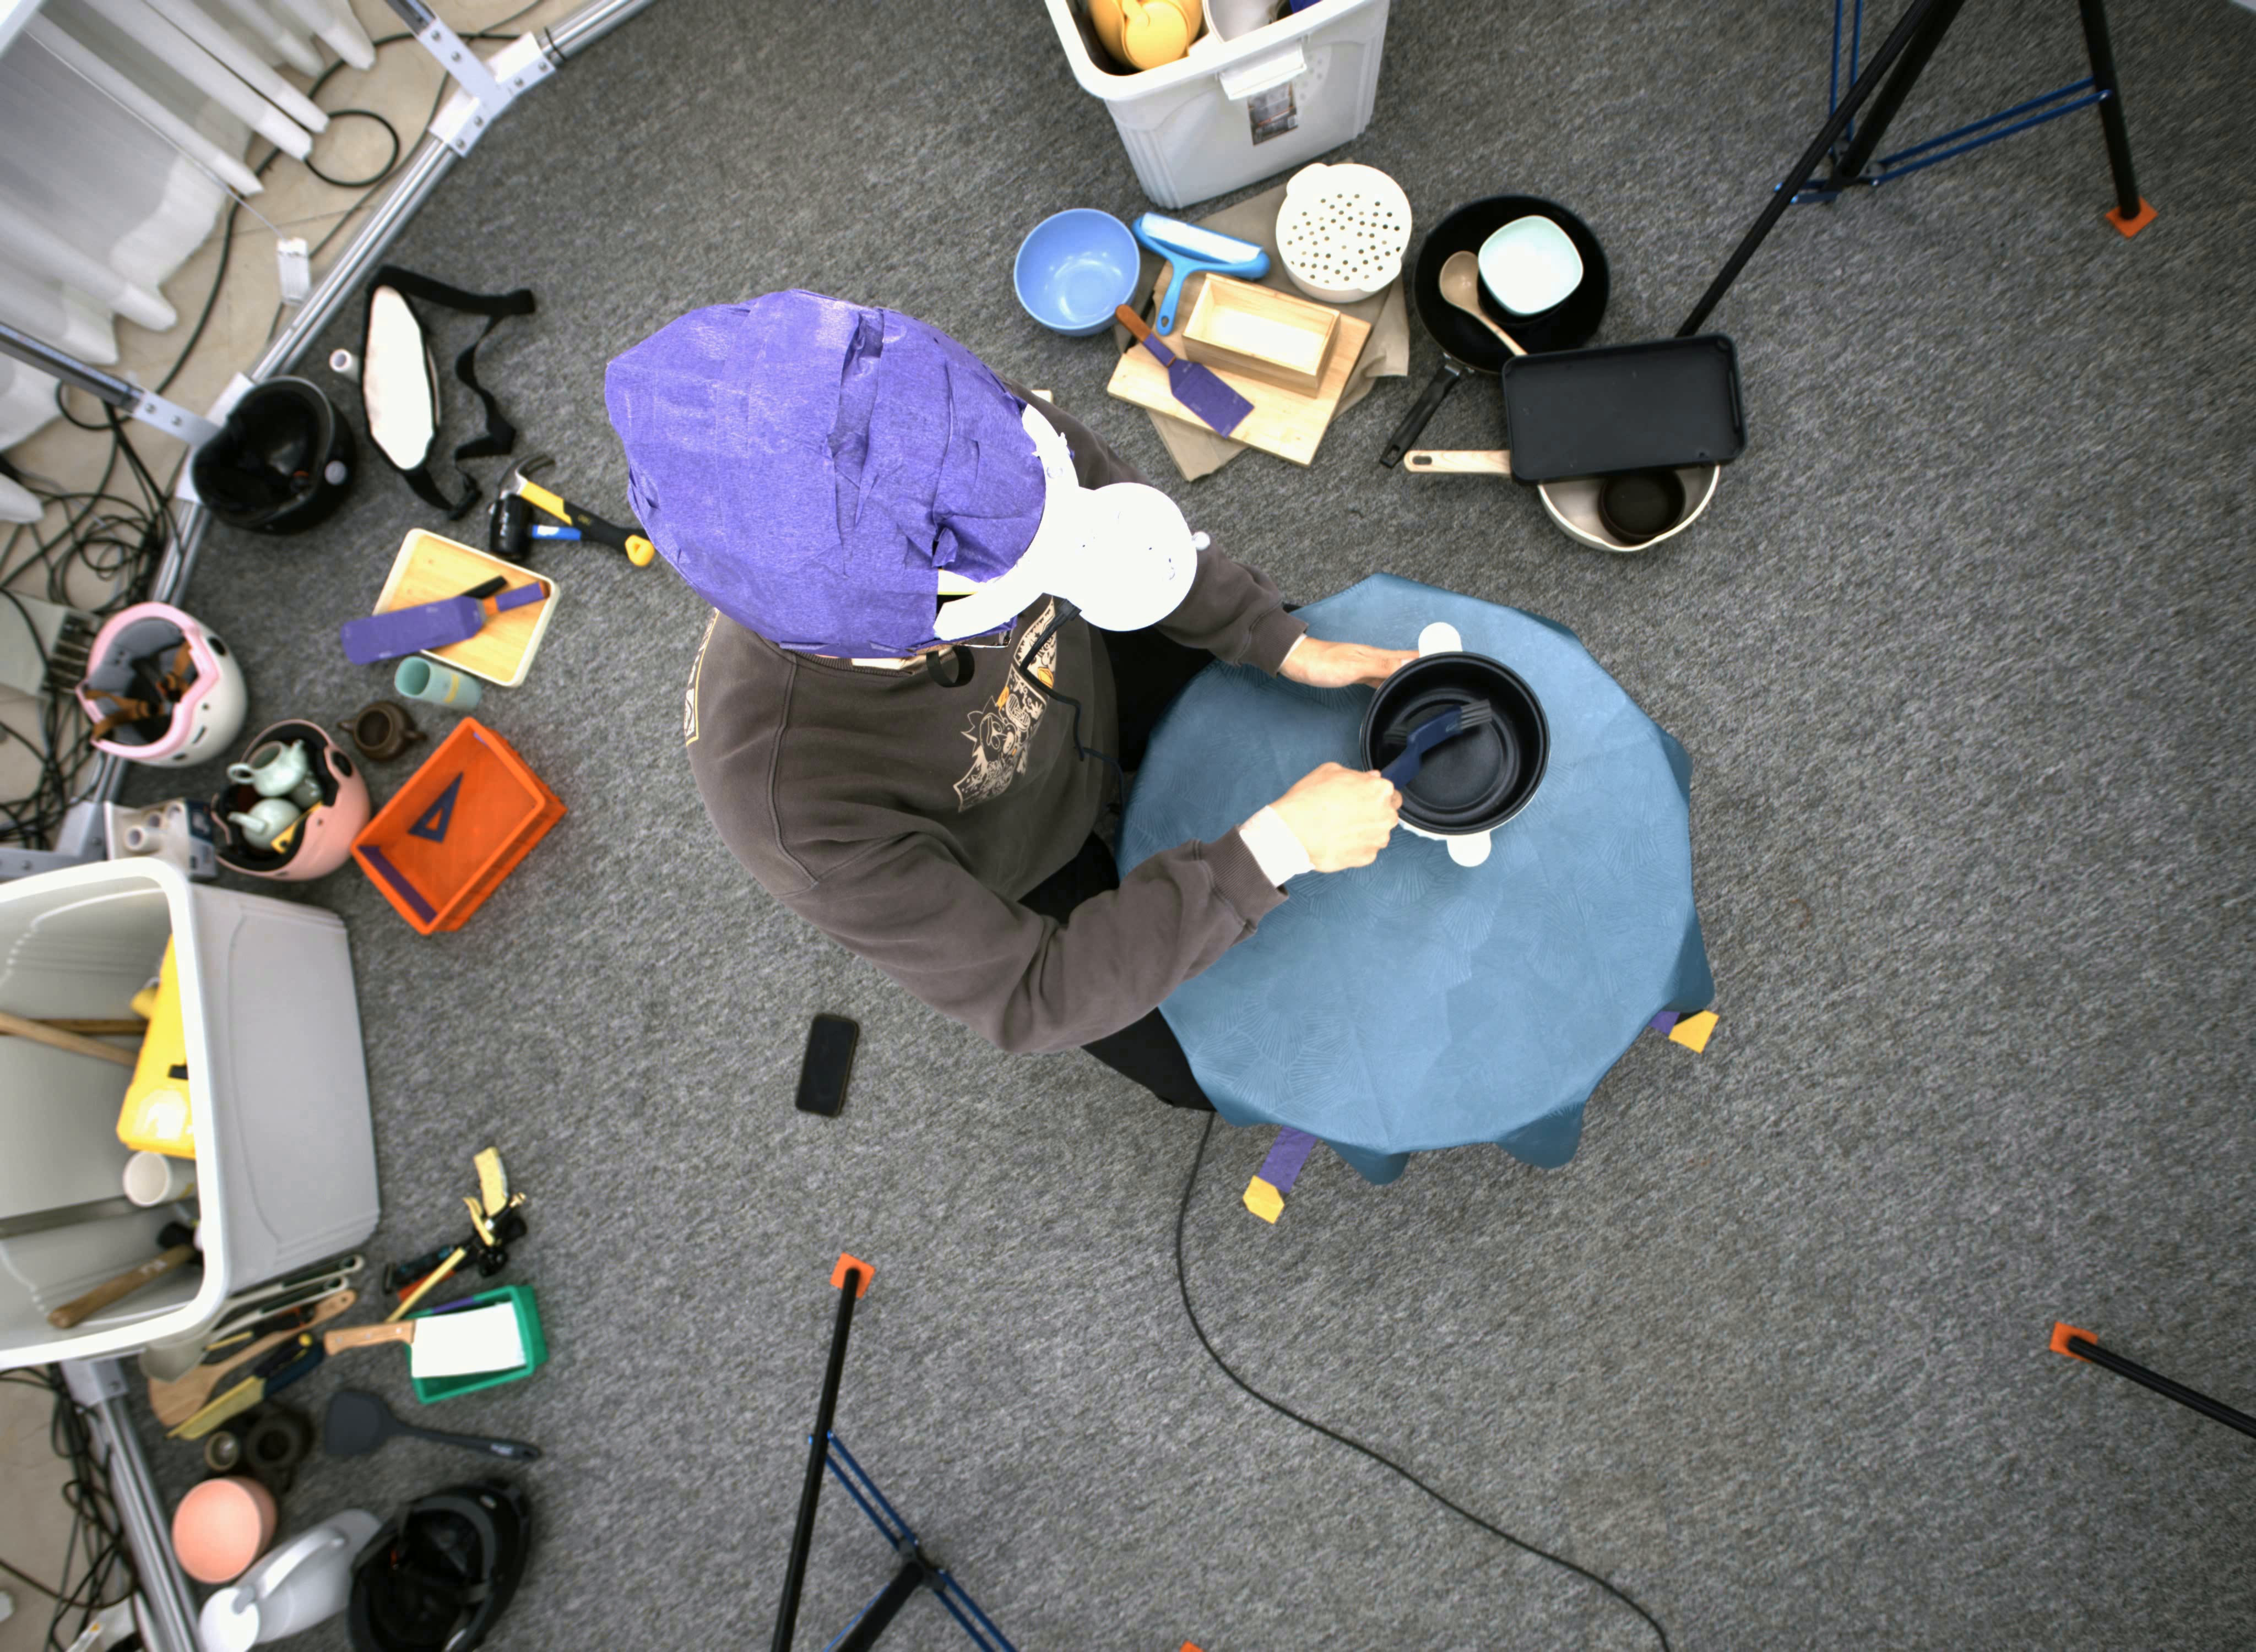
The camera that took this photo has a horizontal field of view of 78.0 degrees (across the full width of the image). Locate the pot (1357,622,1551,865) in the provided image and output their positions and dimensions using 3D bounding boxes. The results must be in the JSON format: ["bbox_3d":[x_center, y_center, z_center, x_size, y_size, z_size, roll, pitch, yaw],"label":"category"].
[{"bbox_3d":[0.330,-0.080,1.383,0.192,0.142,0.239,-9,87,14],"label":"pot"}]

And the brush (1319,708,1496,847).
[{"bbox_3d":[0.260,-0.055,1.282,0.096,0.267,0.034,5,121,32],"label":"brush"}]
